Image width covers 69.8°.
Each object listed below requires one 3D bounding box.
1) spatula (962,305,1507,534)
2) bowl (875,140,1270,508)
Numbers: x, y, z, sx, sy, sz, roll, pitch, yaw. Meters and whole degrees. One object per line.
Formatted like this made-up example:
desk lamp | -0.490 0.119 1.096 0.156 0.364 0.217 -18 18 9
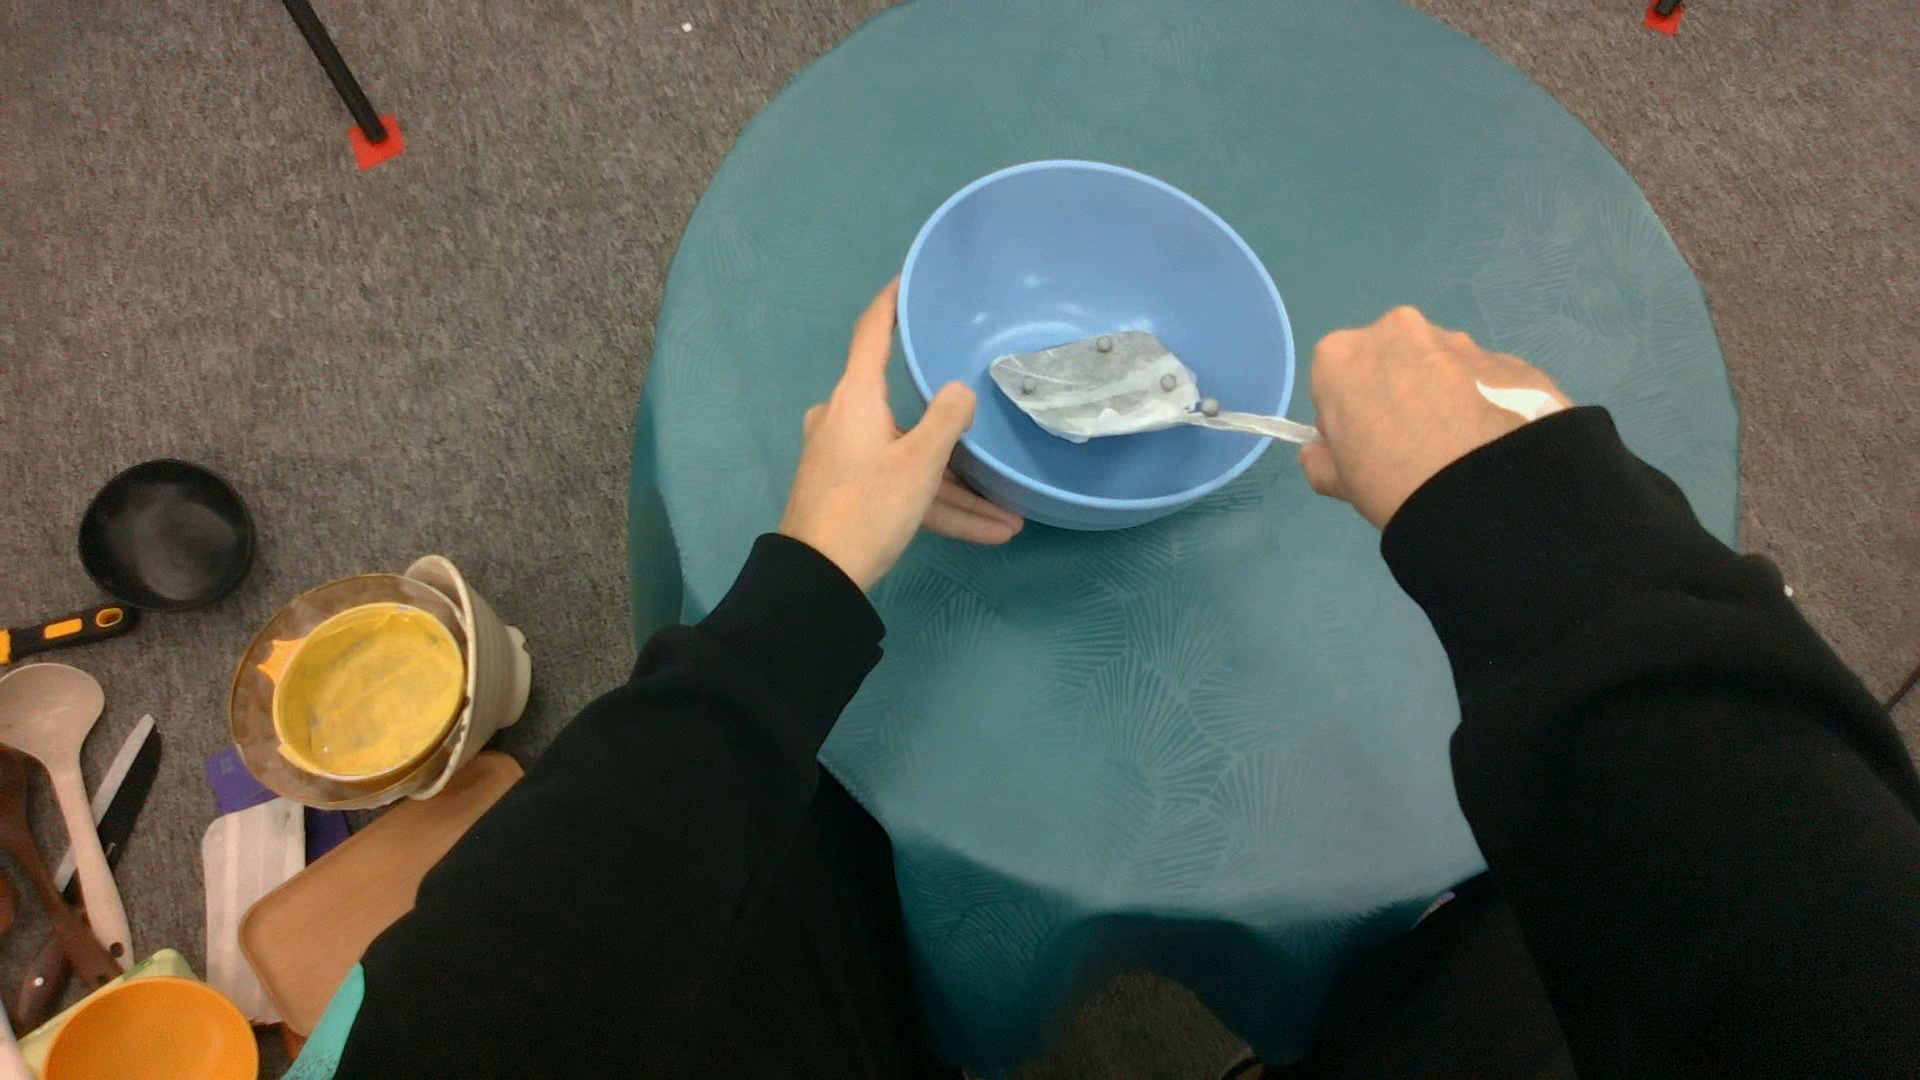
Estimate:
spatula | 0.106 -0.062 0.584 0.099 0.365 0.044 -13 106 -18
bowl | 0.046 -0.094 0.694 0.196 0.095 0.197 6 63 -12
